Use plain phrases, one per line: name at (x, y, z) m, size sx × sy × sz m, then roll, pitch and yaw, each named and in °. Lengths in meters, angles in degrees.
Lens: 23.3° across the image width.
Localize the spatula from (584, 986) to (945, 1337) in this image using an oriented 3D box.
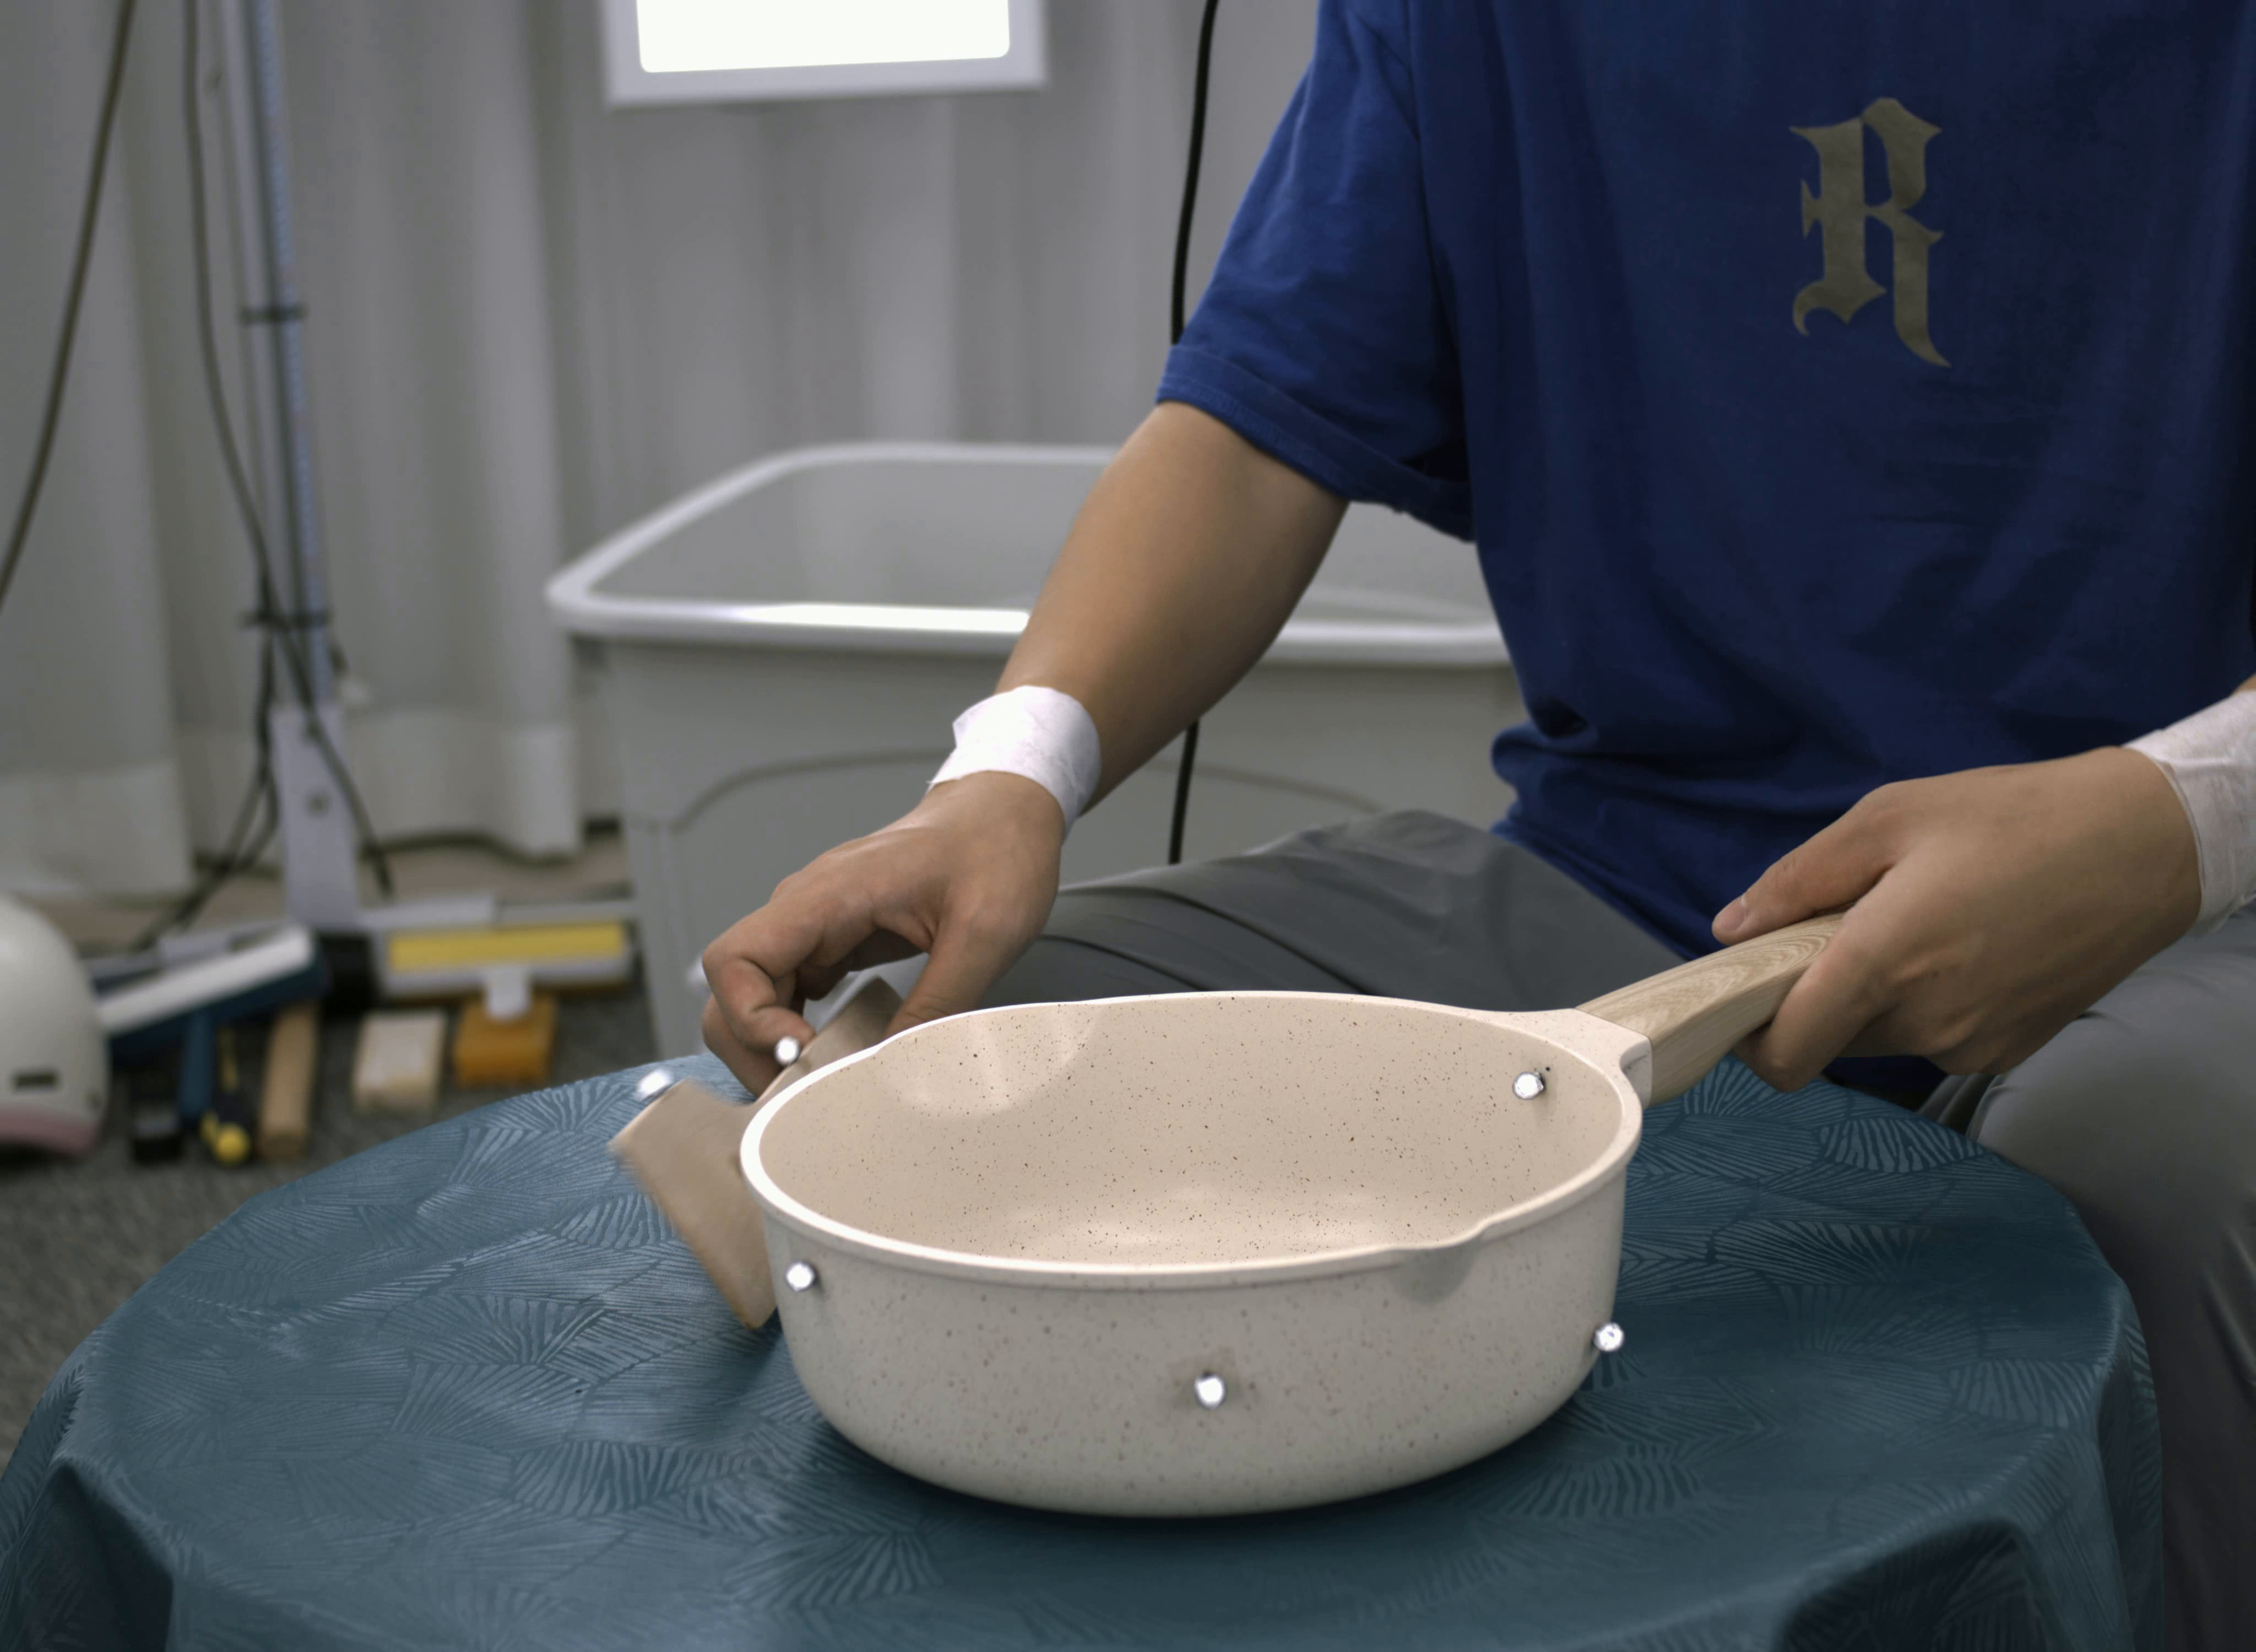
spatula at (-0.105, 0.094, 1.723) m, size 0.072 × 0.010 × 0.294 m, roll 44°, pitch 18°, yaw 0°

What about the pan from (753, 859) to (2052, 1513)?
pan at (0.100, 0.097, 1.565) m, size 0.433 × 0.101 × 0.265 m, roll -11°, pitch 15°, yaw -31°
